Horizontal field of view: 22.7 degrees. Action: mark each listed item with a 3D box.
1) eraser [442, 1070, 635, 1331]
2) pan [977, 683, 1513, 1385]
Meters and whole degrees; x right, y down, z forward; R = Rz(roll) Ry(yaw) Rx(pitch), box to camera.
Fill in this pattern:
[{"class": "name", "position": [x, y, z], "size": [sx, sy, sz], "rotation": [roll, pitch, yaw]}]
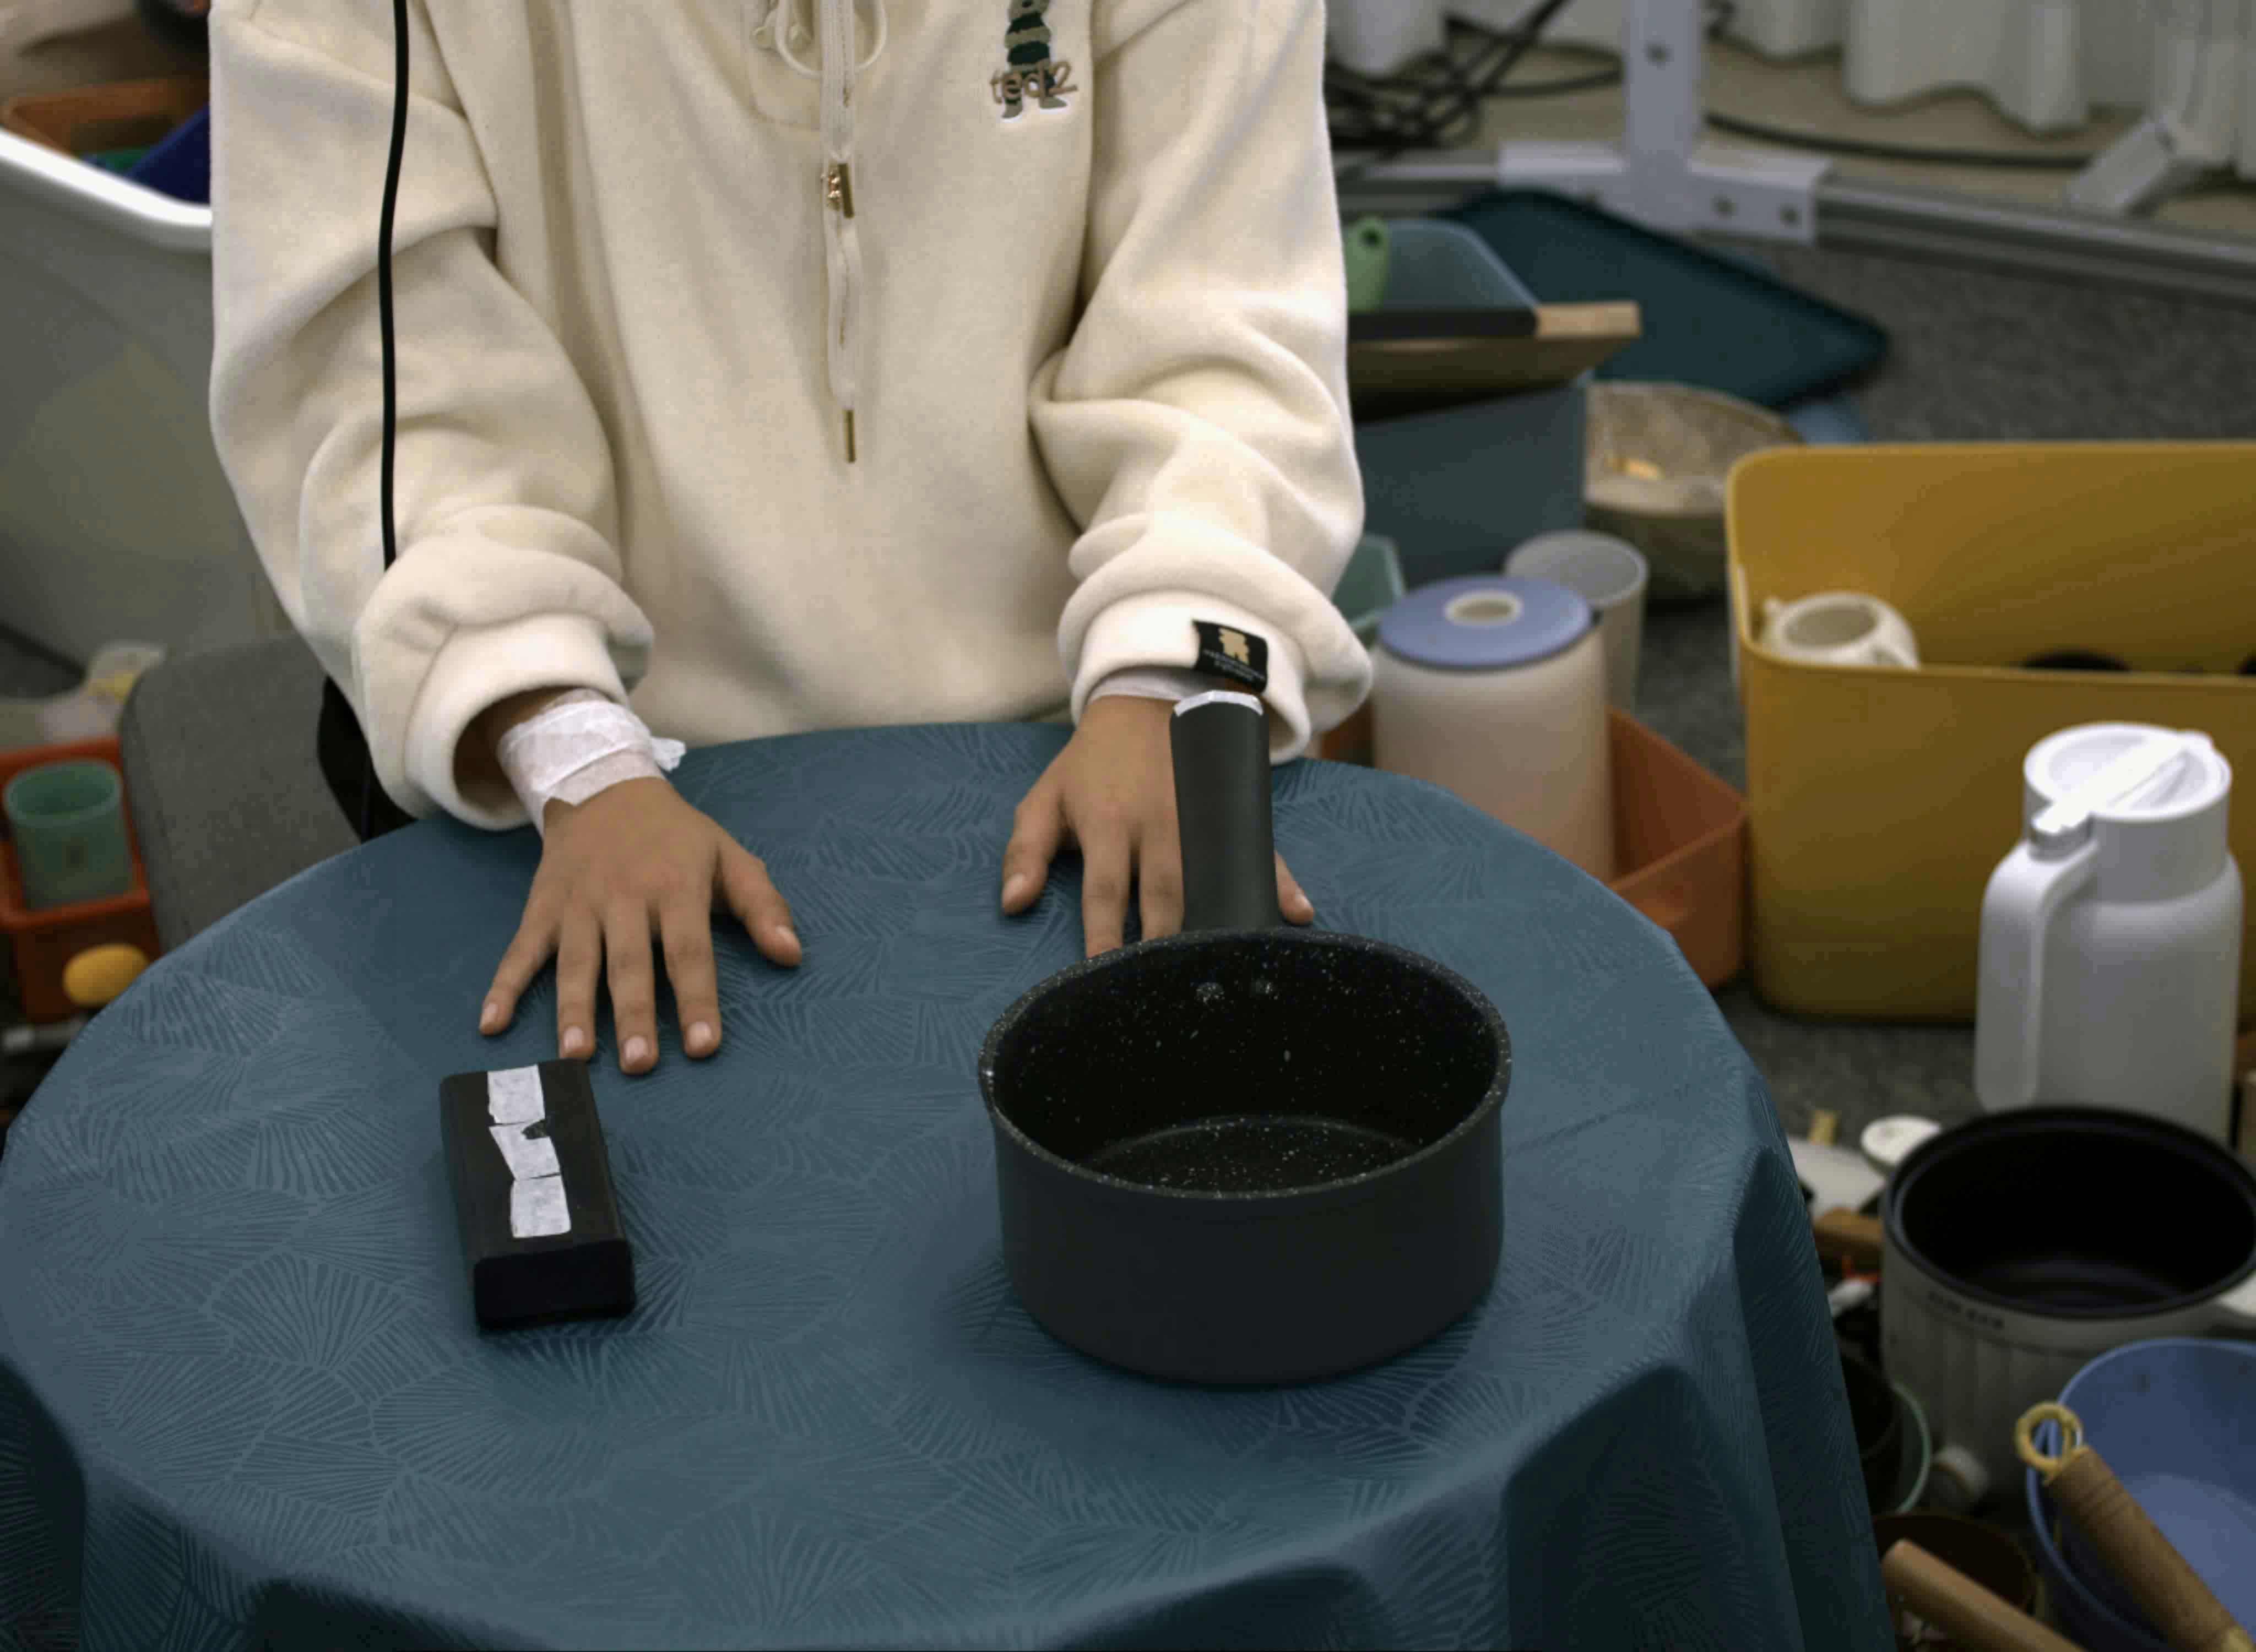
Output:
[{"class": "eraser", "position": [-0.194, 0.123, 1.850], "size": [0.053, 0.030, 0.127], "rotation": [-7, 26, -9]}, {"class": "pan", "position": [0.040, 0.066, 1.875], "size": [0.171, 0.085, 0.334], "rotation": [-1, 29, 2]}]
